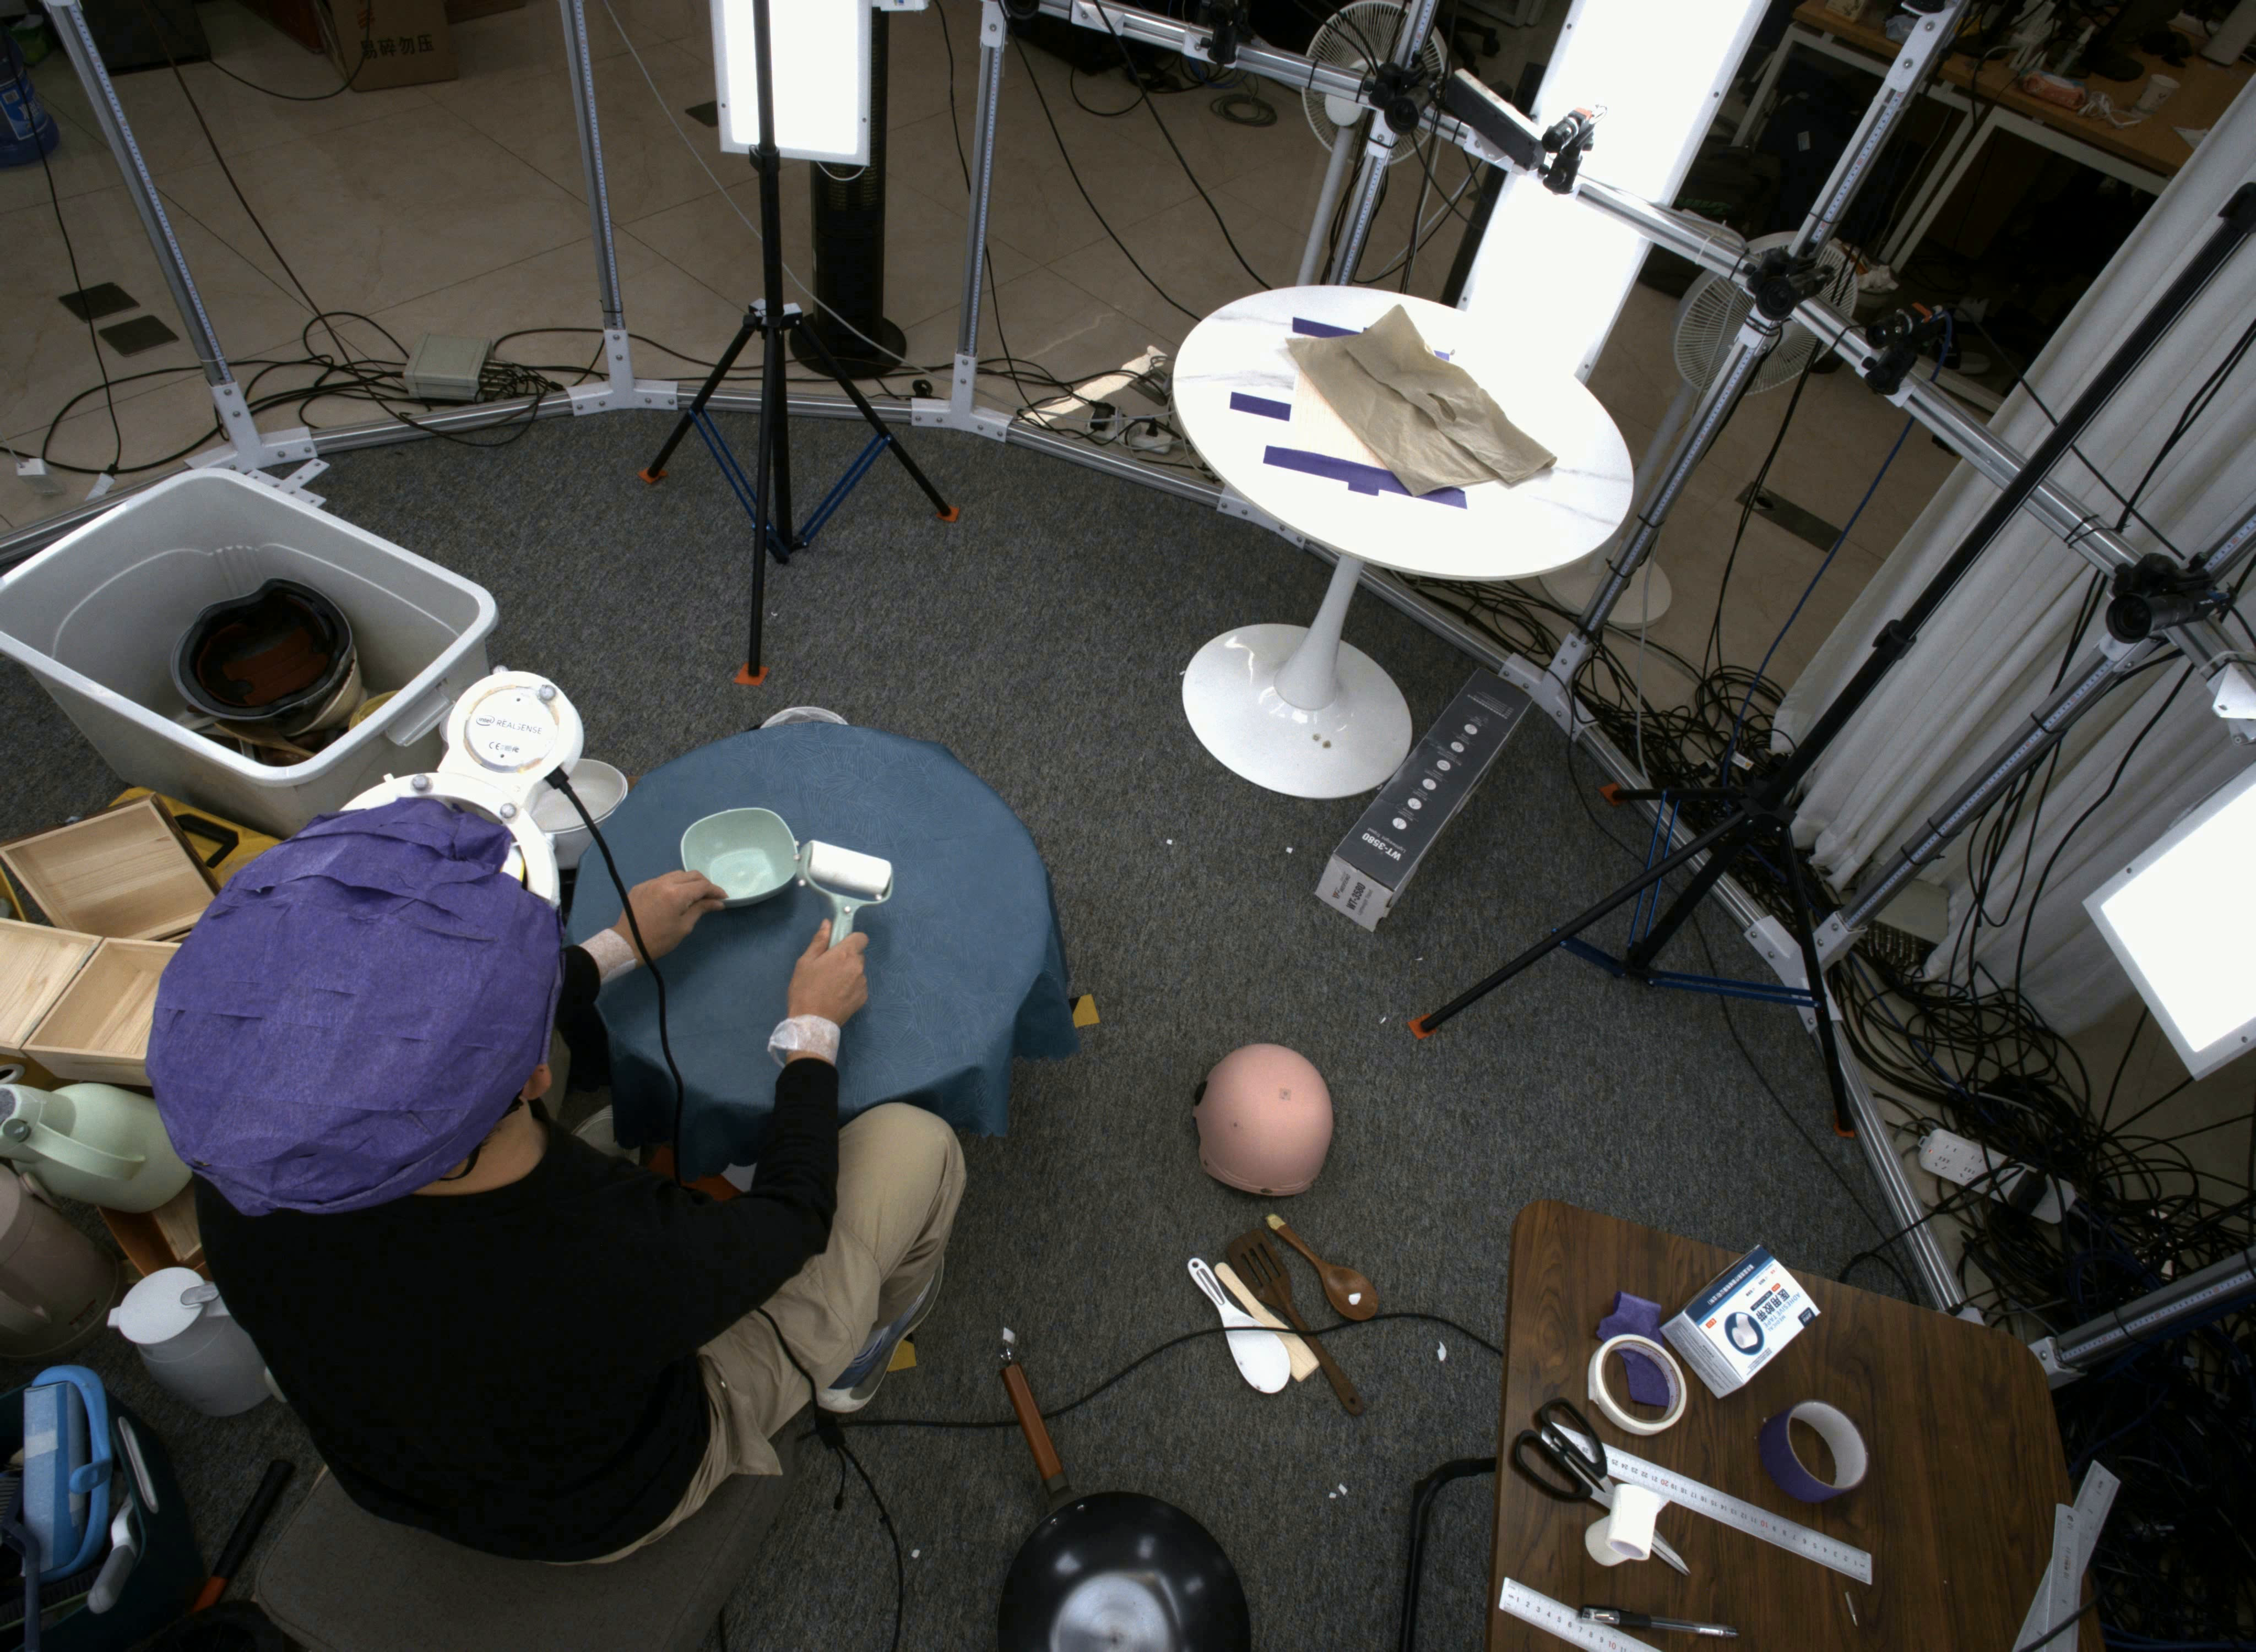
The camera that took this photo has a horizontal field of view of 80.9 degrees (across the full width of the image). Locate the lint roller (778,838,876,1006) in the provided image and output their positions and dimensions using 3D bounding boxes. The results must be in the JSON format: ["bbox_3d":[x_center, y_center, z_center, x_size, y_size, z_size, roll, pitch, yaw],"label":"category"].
[{"bbox_3d":[-0.365,0.113,1.548,0.119,0.048,0.195,18,56,-32],"label":"lint roller"}]

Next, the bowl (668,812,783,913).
[{"bbox_3d":[-0.503,0.053,1.622,0.151,0.060,0.148,8,51,-8],"label":"bowl"}]
